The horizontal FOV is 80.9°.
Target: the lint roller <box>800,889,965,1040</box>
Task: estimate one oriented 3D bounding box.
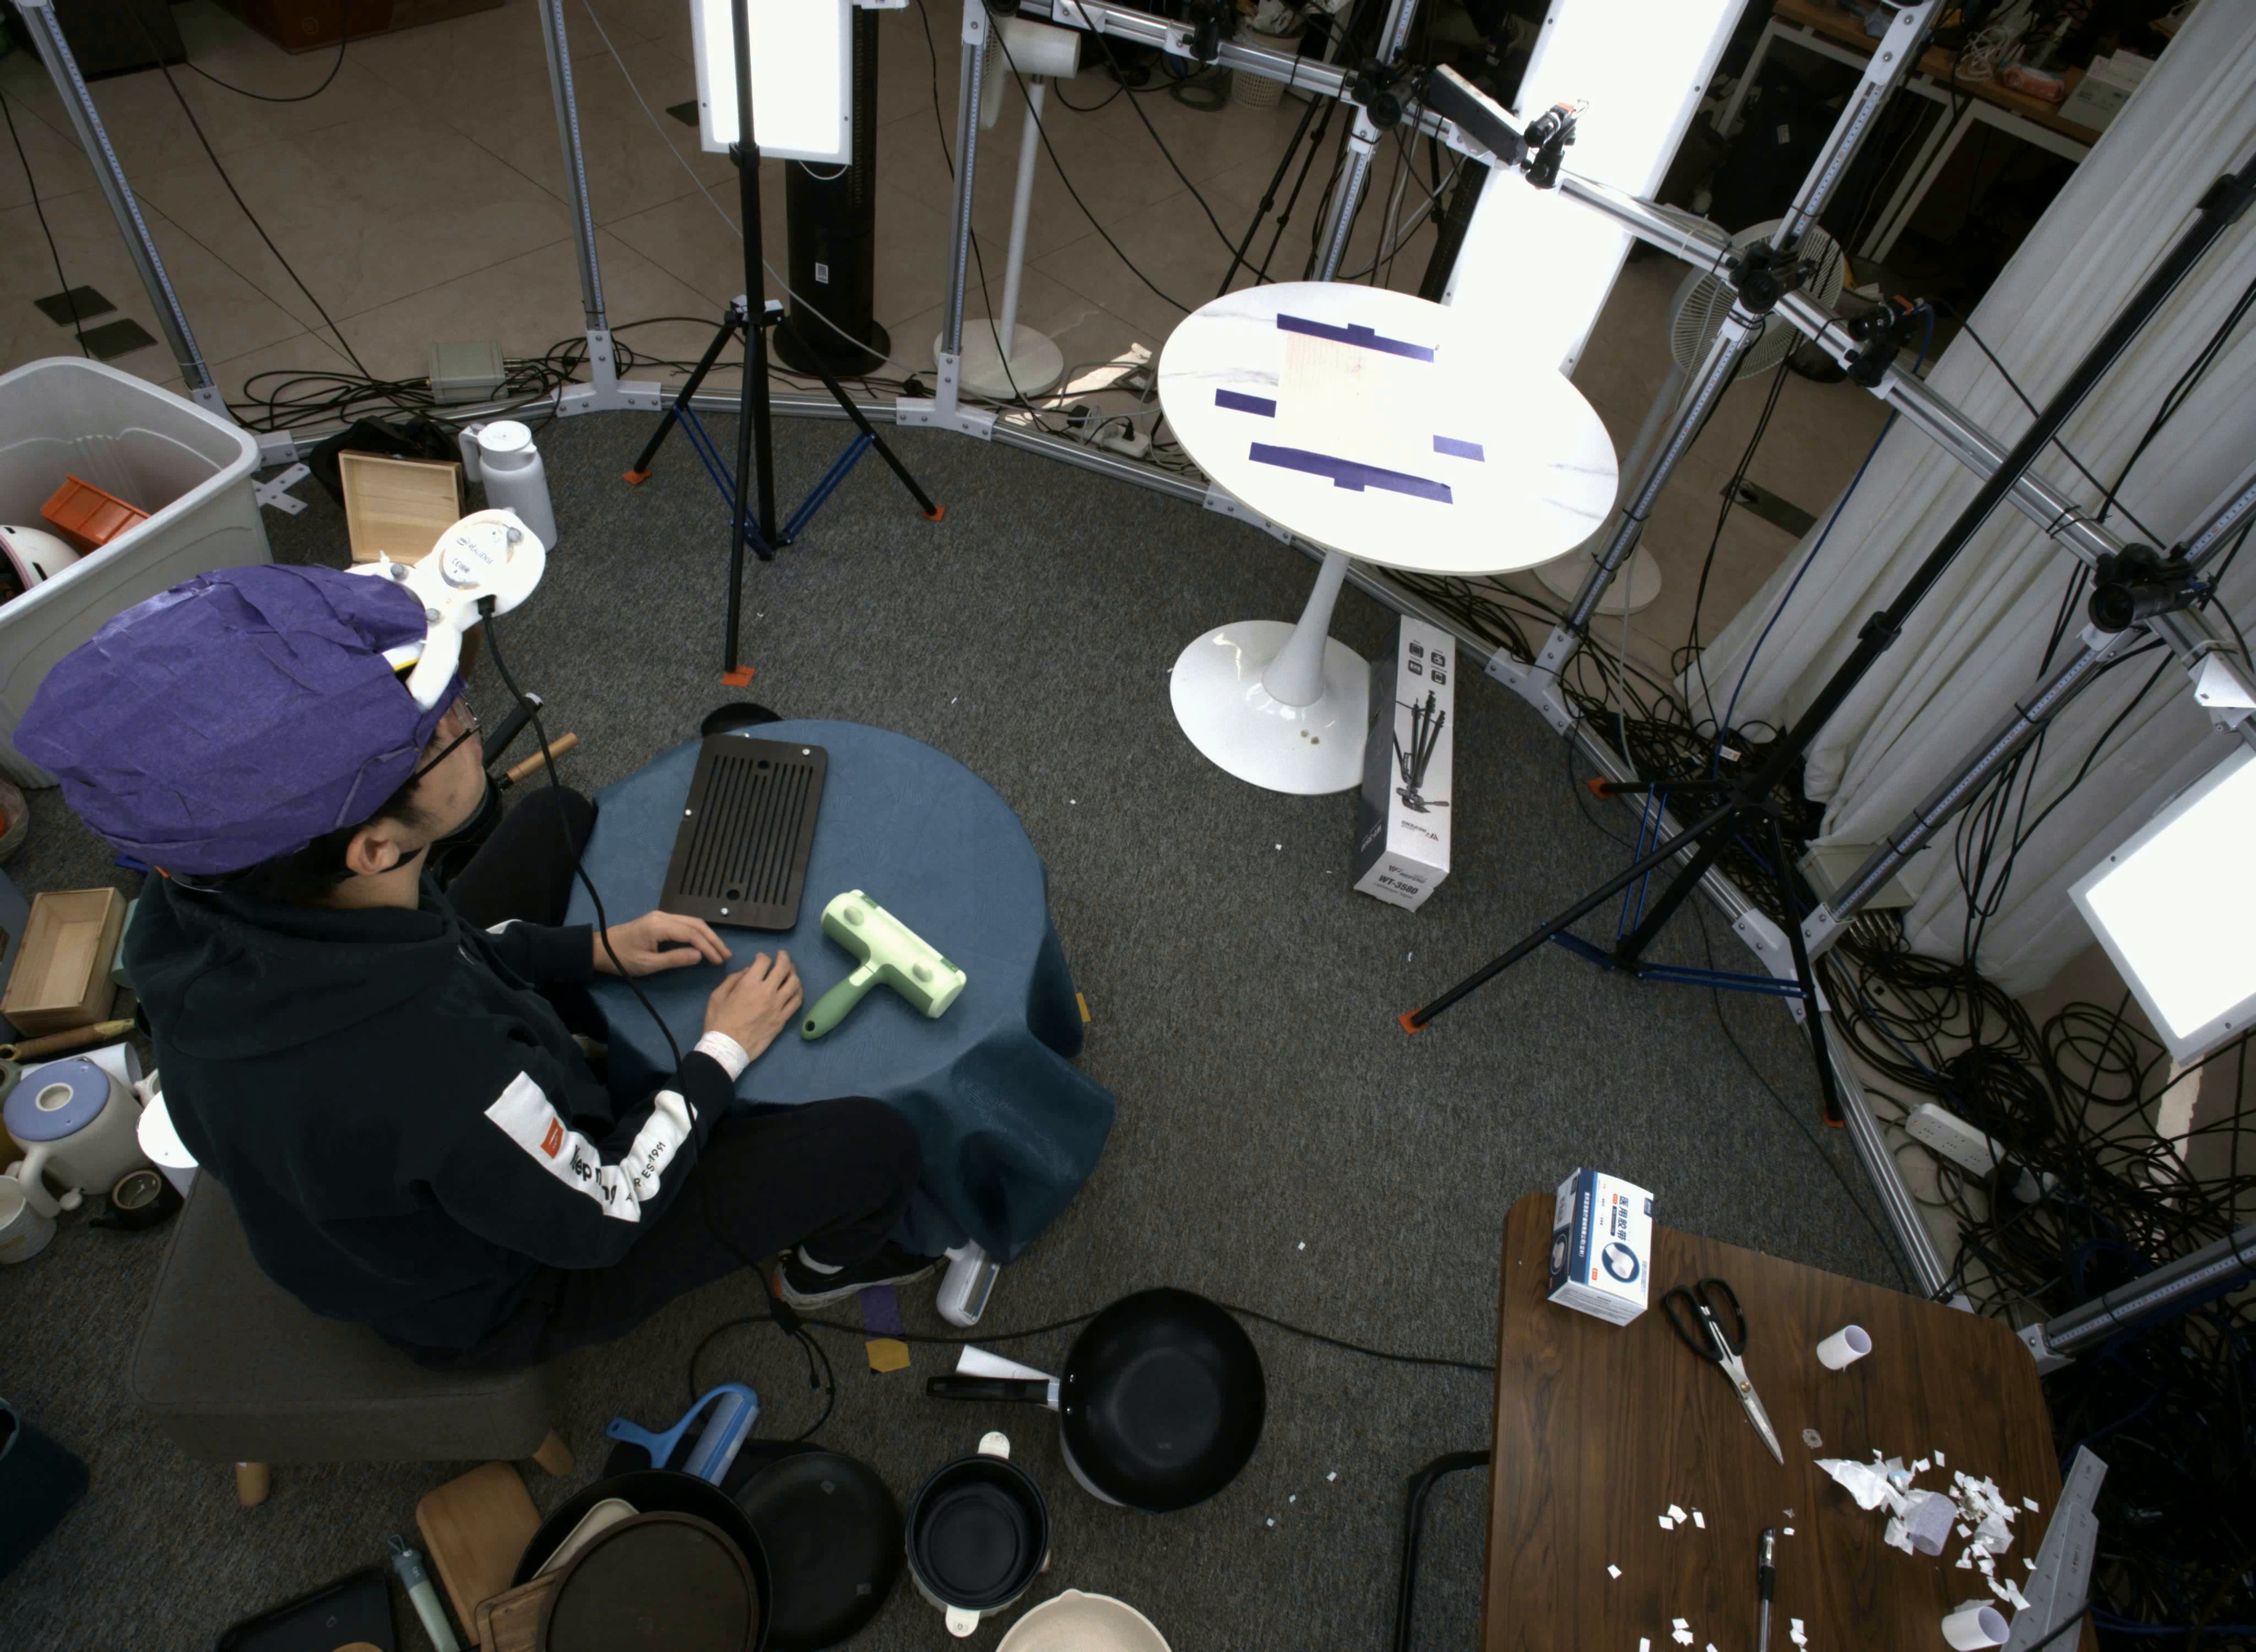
[{"bbox_3d":[-0.326,0.180,1.571,0.195,0.084,0.183,37,50,14],"label":"lint roller"}]

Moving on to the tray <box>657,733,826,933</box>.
[{"bbox_3d":[-0.502,0.004,1.694,0.170,0.019,0.300,8,53,-10],"label":"tray"}]
